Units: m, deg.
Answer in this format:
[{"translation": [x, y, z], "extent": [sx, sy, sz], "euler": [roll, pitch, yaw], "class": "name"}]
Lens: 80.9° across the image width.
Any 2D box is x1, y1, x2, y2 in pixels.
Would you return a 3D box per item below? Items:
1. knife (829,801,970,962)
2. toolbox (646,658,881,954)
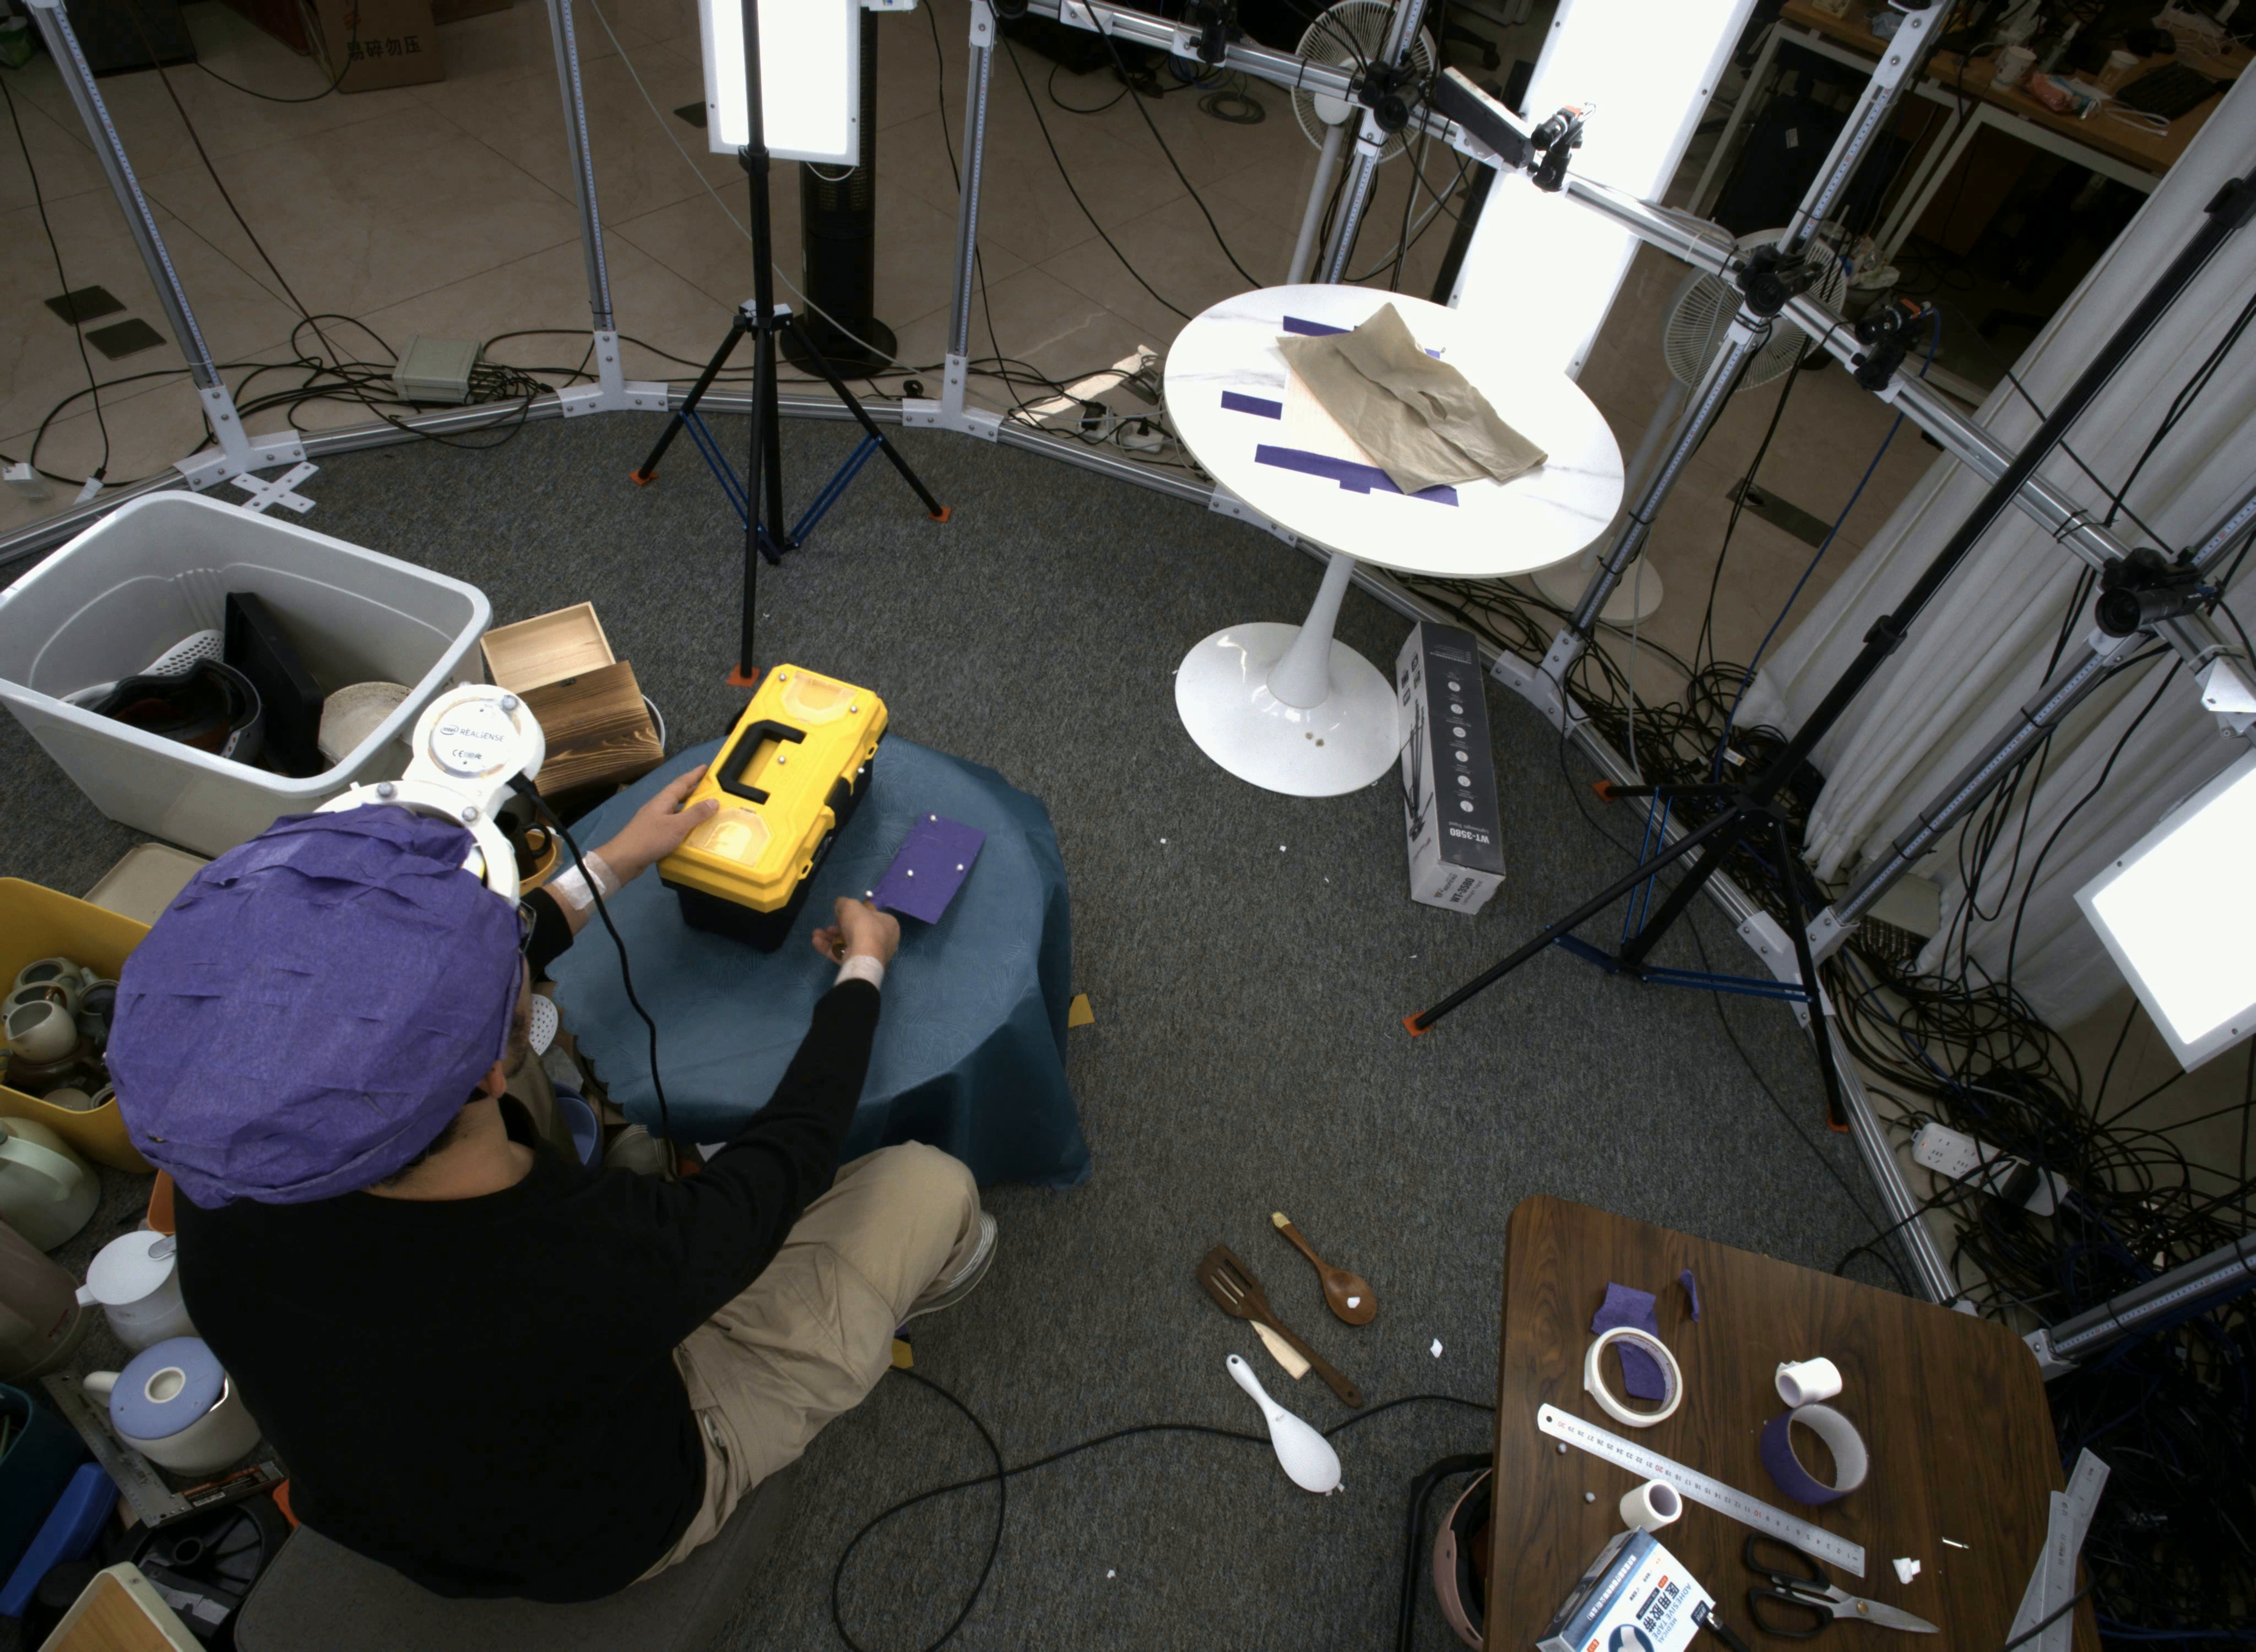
[{"translation": [-0.279, 0.068, 1.646], "extent": [0.103, 0.033, 0.311], "euler": [20, 38, 0], "class": "knife"}, {"translation": [-0.447, -0.026, 1.621], "extent": [0.179, 0.176, 0.348], "euler": [18, 52, 2], "class": "toolbox"}]
